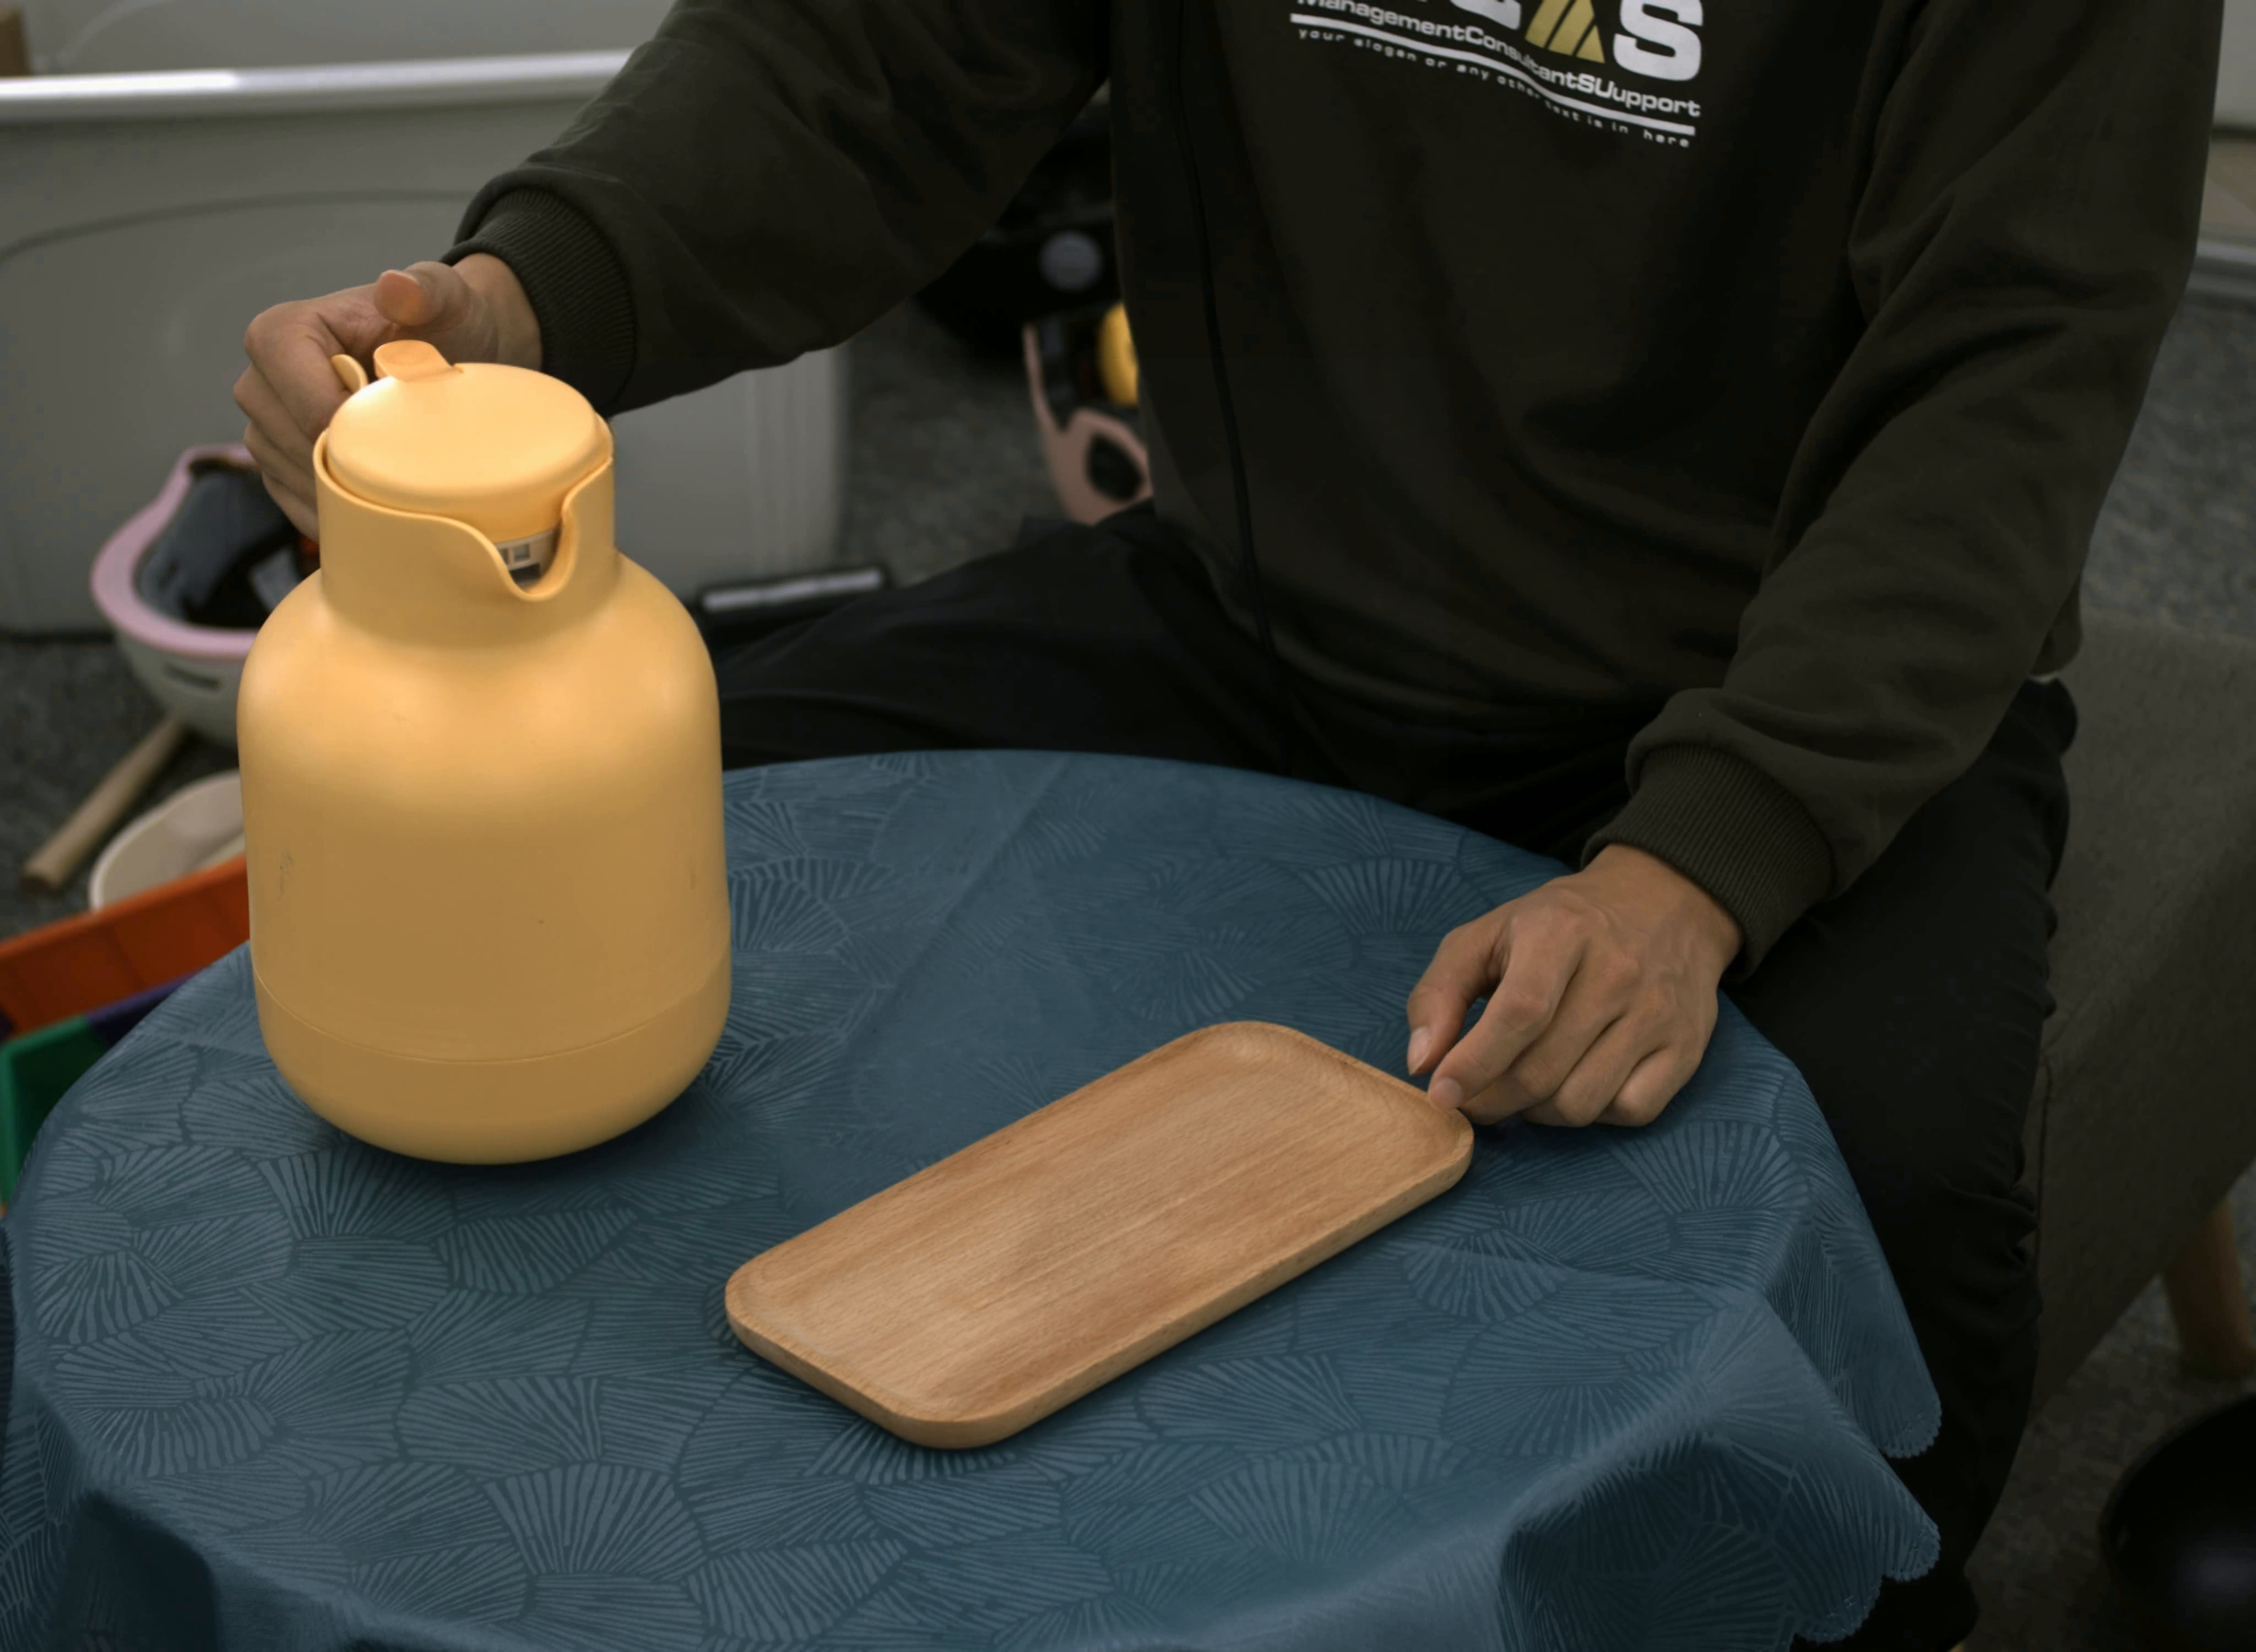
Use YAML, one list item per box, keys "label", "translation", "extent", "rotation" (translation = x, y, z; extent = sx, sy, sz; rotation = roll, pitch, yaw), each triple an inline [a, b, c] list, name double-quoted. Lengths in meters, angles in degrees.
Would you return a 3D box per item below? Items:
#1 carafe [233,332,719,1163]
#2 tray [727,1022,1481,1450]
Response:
- label: "carafe"
  translation: [-0.224, -0.036, 1.897]
  extent: [0.164, 0.257, 0.204]
  rotation: [-9, 33, -21]
- label: "tray"
  translation: [-0.006, 0.131, 1.829]
  extent: [0.253, 0.022, 0.130]
  rotation: [-24, 37, -37]
